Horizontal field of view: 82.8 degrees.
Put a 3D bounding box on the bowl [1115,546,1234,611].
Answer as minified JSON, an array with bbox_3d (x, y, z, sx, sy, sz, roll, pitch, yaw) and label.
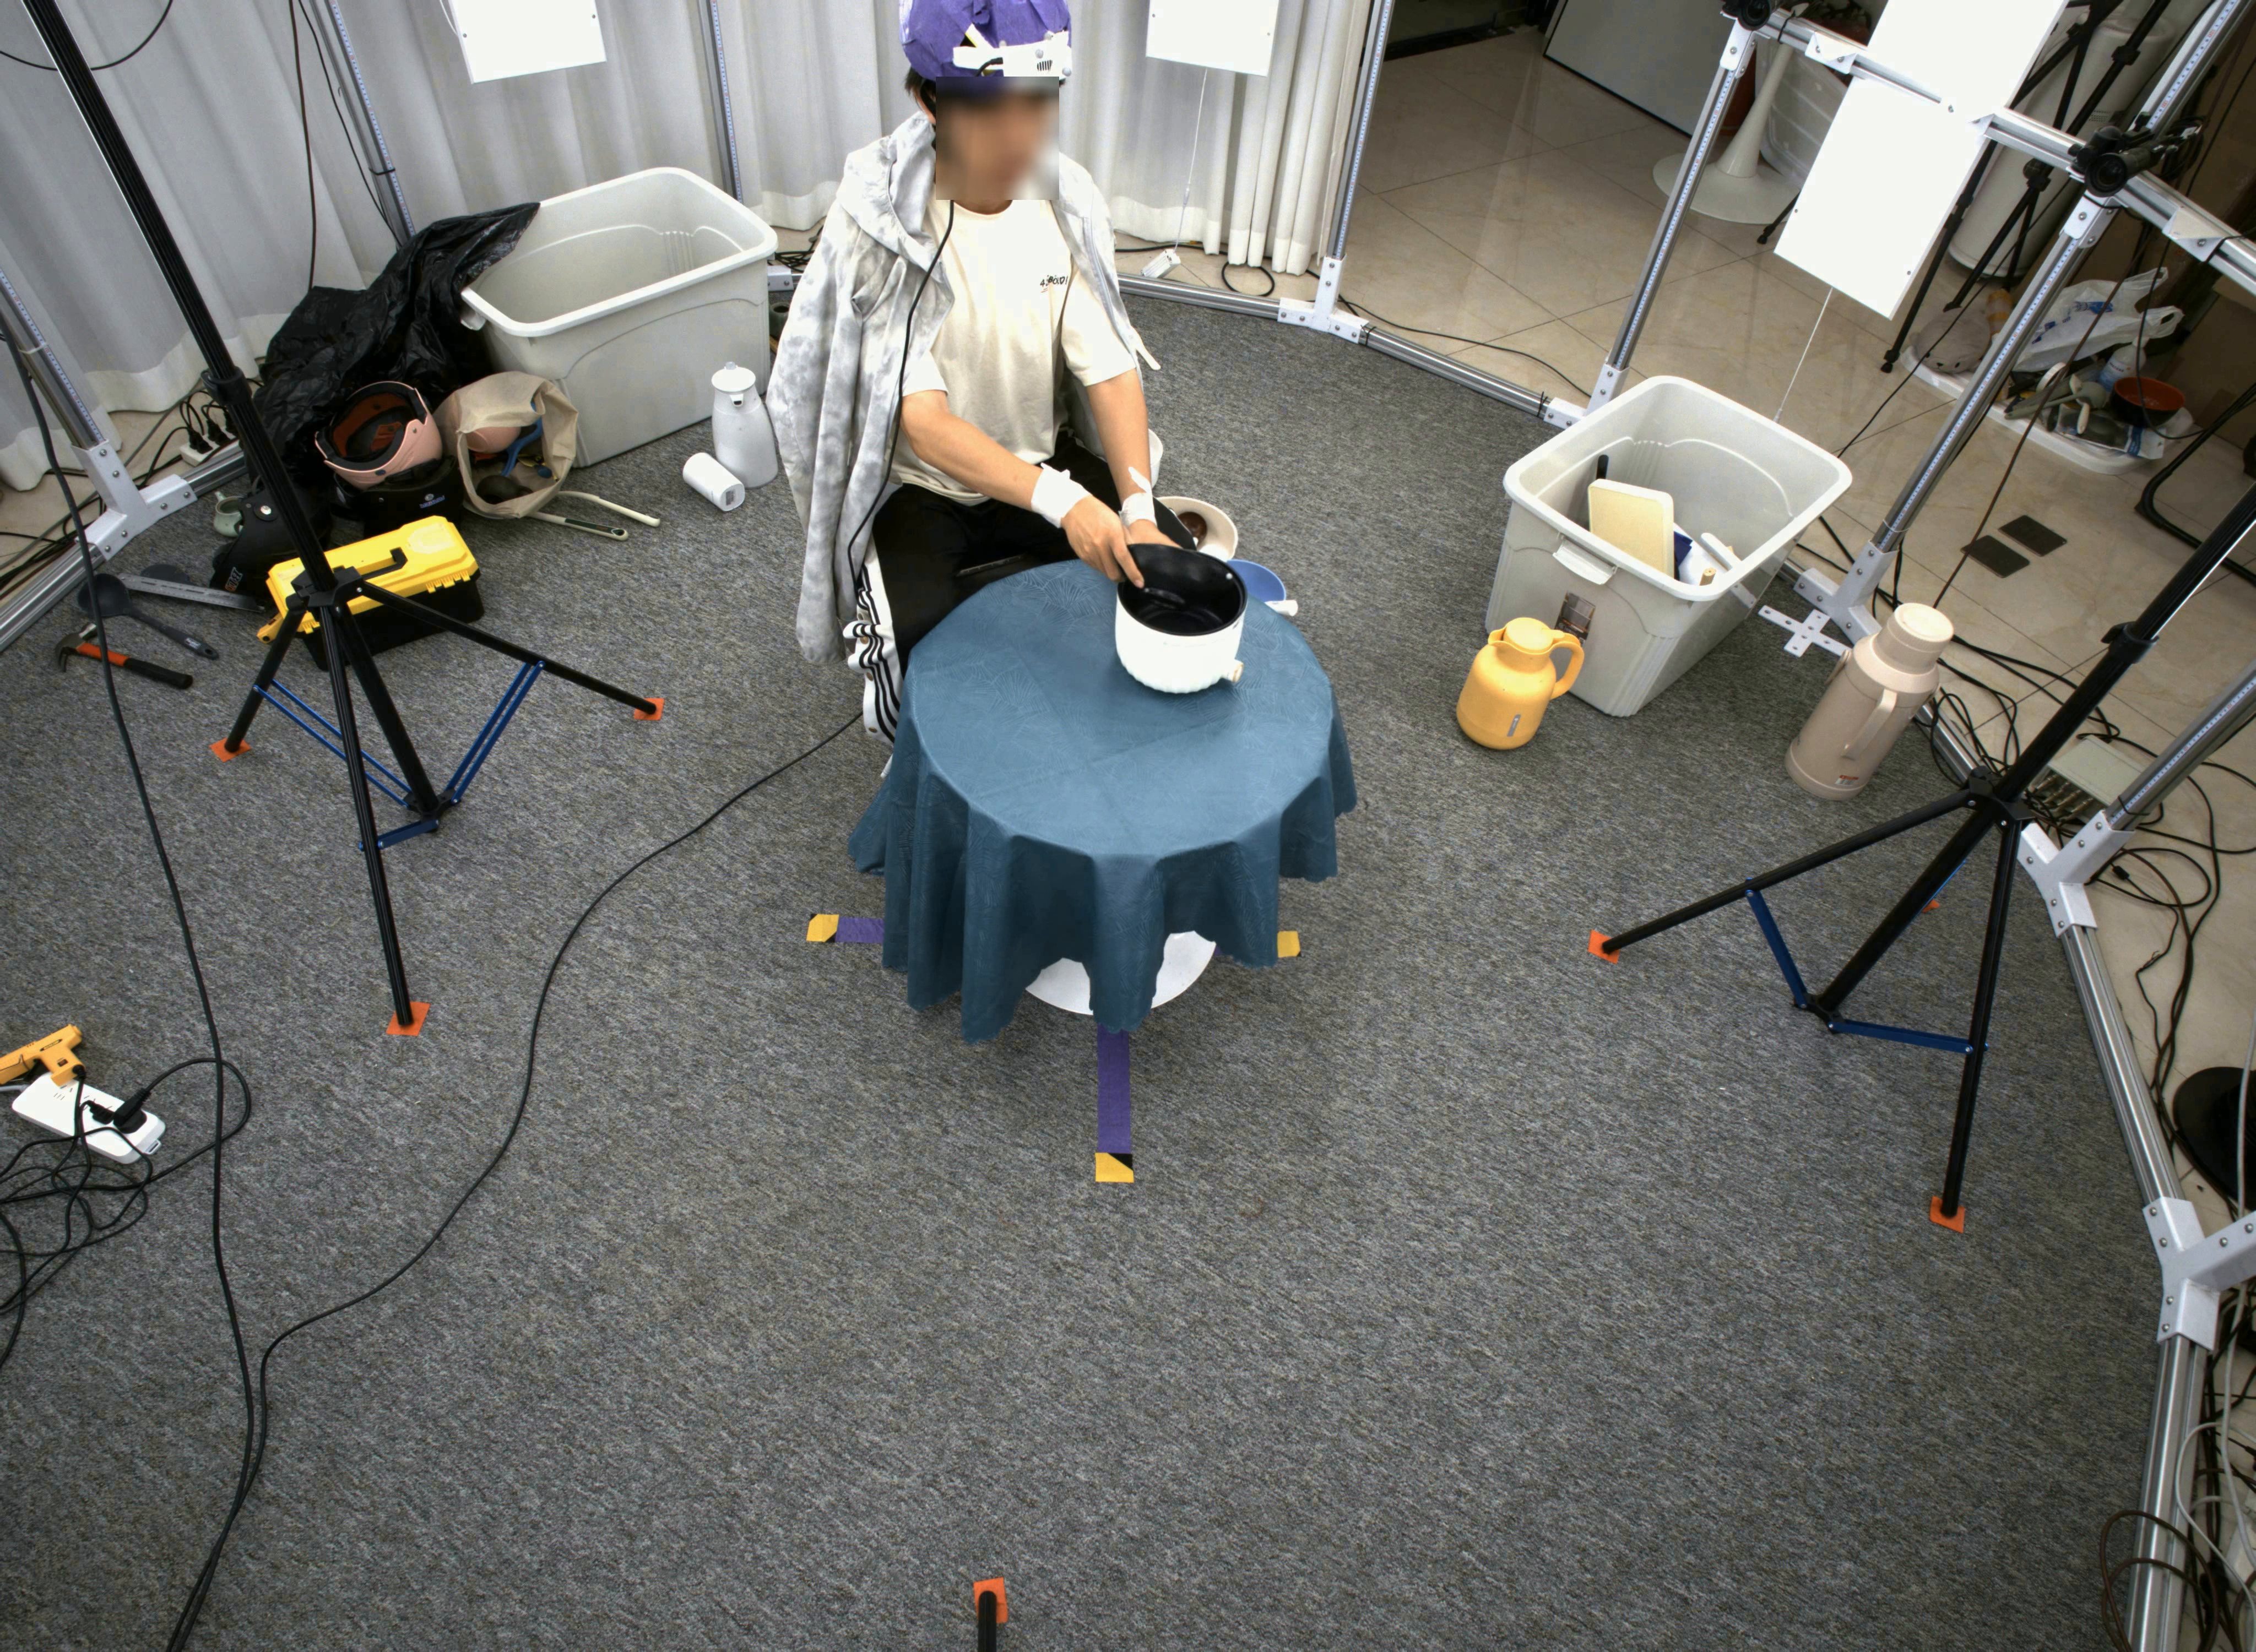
[{"bbox_3d":[0.059,-0.334,1.755,0.169,0.138,0.067,17,88,-20],"label":"bowl"}]

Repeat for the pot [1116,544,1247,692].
[{"bbox_3d":[0.077,-0.284,1.823,0.192,0.139,0.244,21,51,18],"label":"pot"}]
